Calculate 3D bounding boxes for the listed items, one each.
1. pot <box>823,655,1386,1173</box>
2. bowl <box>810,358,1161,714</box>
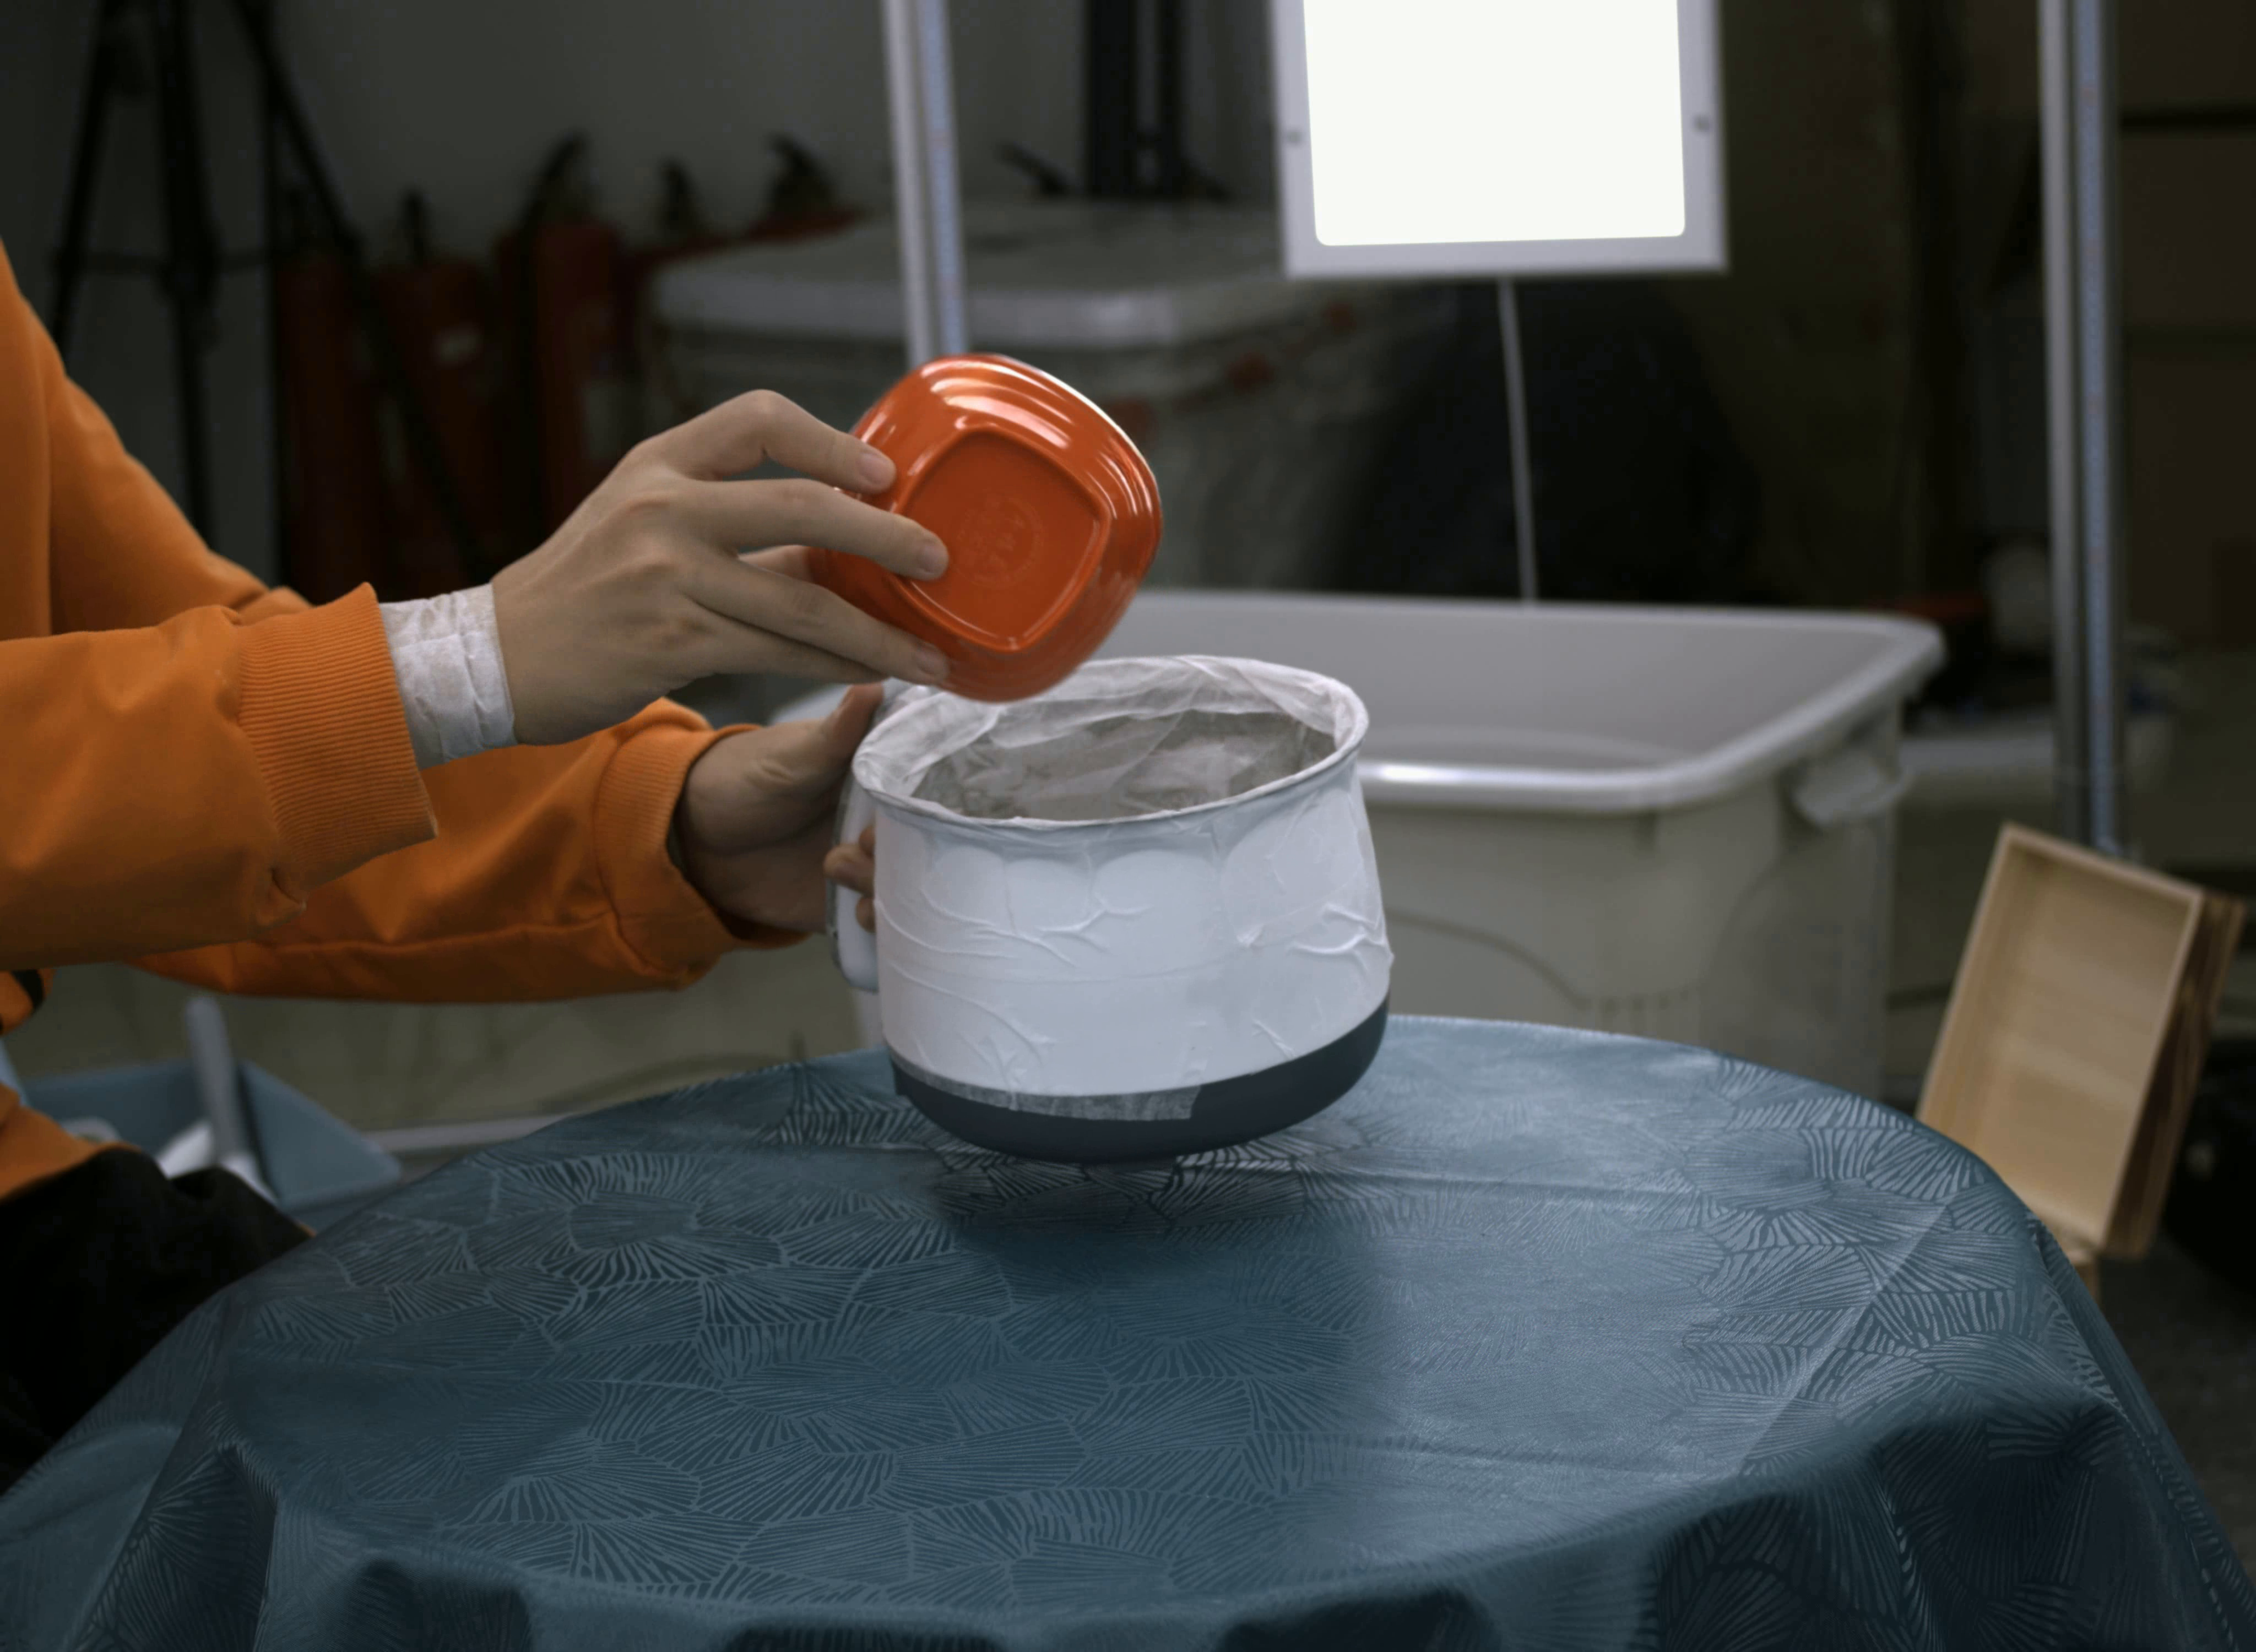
[{"bbox_3d":[-0.022,0.025,1.908,0.238,0.137,0.174,12,26,43],"label":"pot"},{"bbox_3d":[-0.045,-0.094,1.814,0.118,0.119,0.051,-5,7,-3],"label":"bowl"}]
